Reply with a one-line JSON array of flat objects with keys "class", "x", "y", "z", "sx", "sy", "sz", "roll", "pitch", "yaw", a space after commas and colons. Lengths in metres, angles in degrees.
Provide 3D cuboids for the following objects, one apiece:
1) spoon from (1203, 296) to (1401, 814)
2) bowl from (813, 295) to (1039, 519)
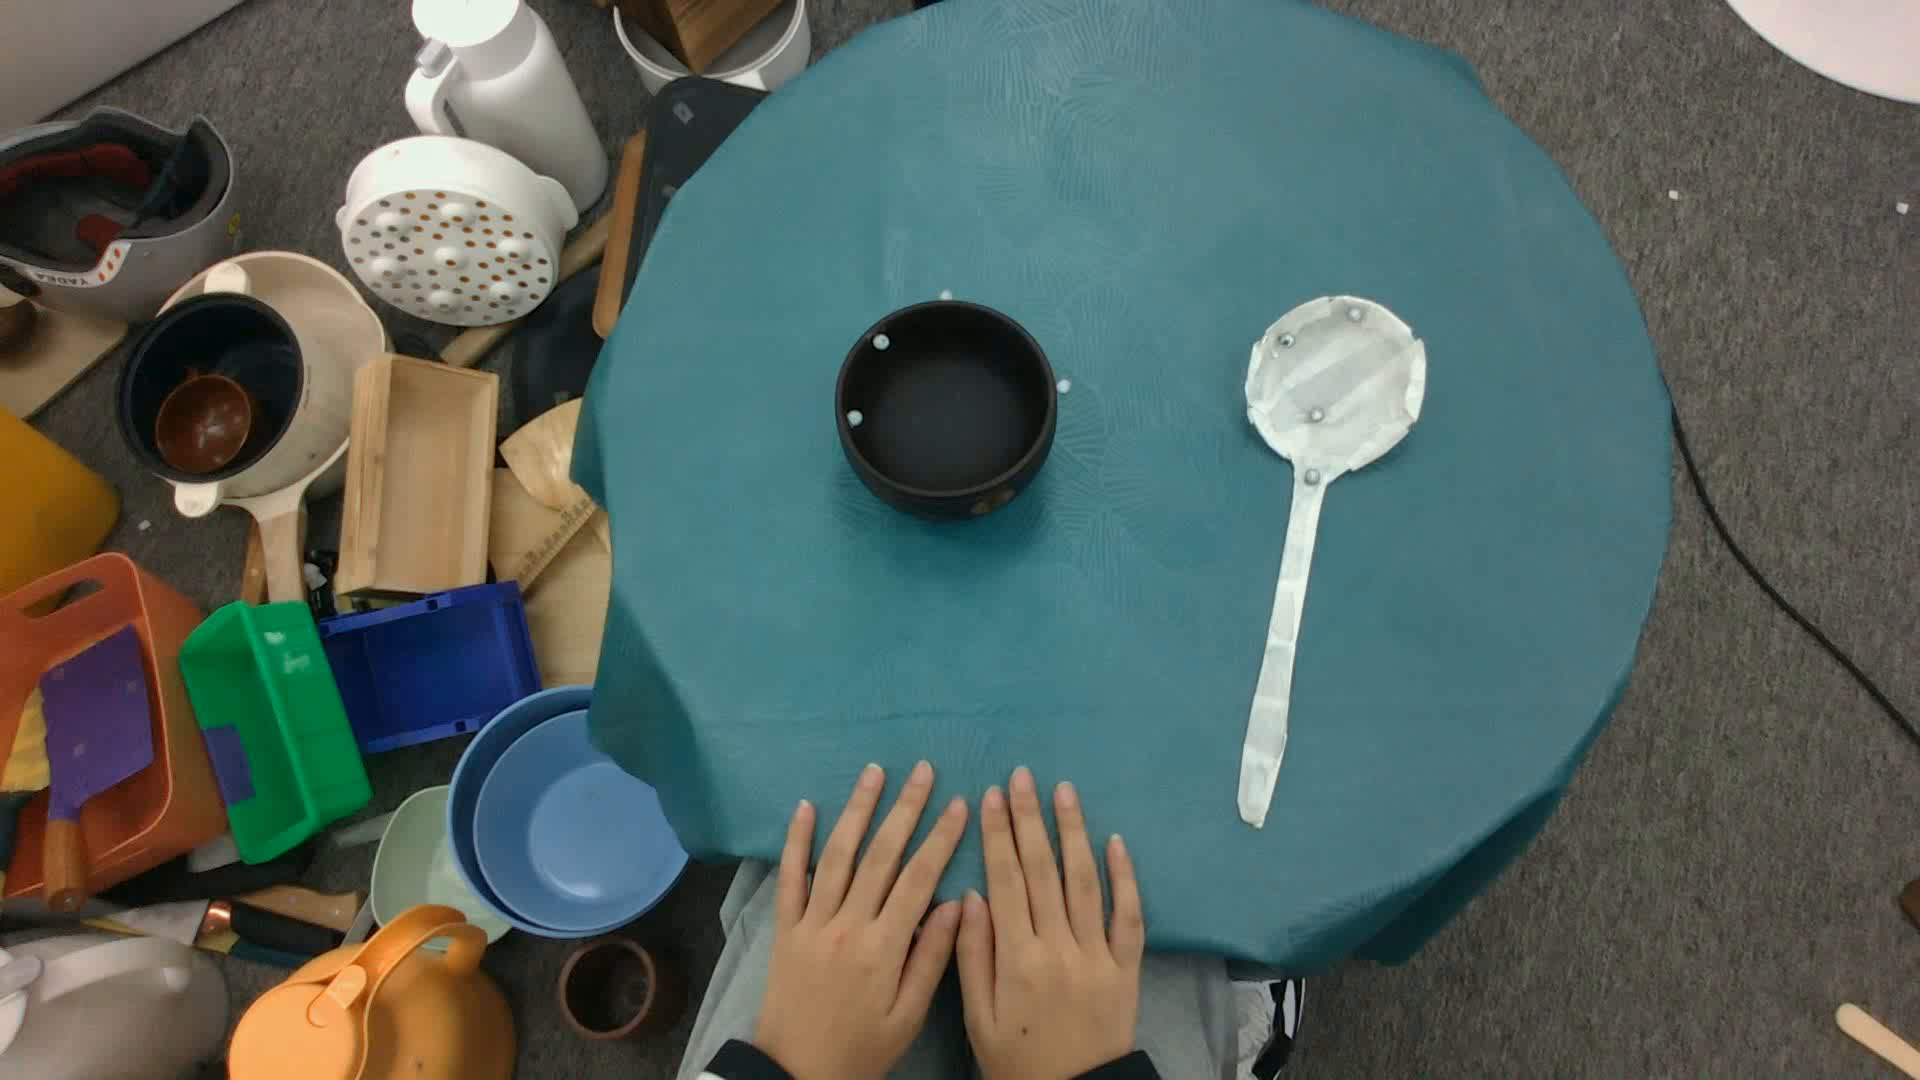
[{"class": "spoon", "x": 0.161, "y": 0.003, "z": 0.719, "sx": 0.100, "sy": 0.059, "sz": 0.278, "roll": 14, "pitch": 70, "yaw": 10}, {"class": "bowl", "x": -0.017, "y": -0.065, "z": 0.739, "sx": 0.118, "sy": 0.069, "sz": 0.118, "roll": 0, "pitch": 69, "yaw": 1}]
